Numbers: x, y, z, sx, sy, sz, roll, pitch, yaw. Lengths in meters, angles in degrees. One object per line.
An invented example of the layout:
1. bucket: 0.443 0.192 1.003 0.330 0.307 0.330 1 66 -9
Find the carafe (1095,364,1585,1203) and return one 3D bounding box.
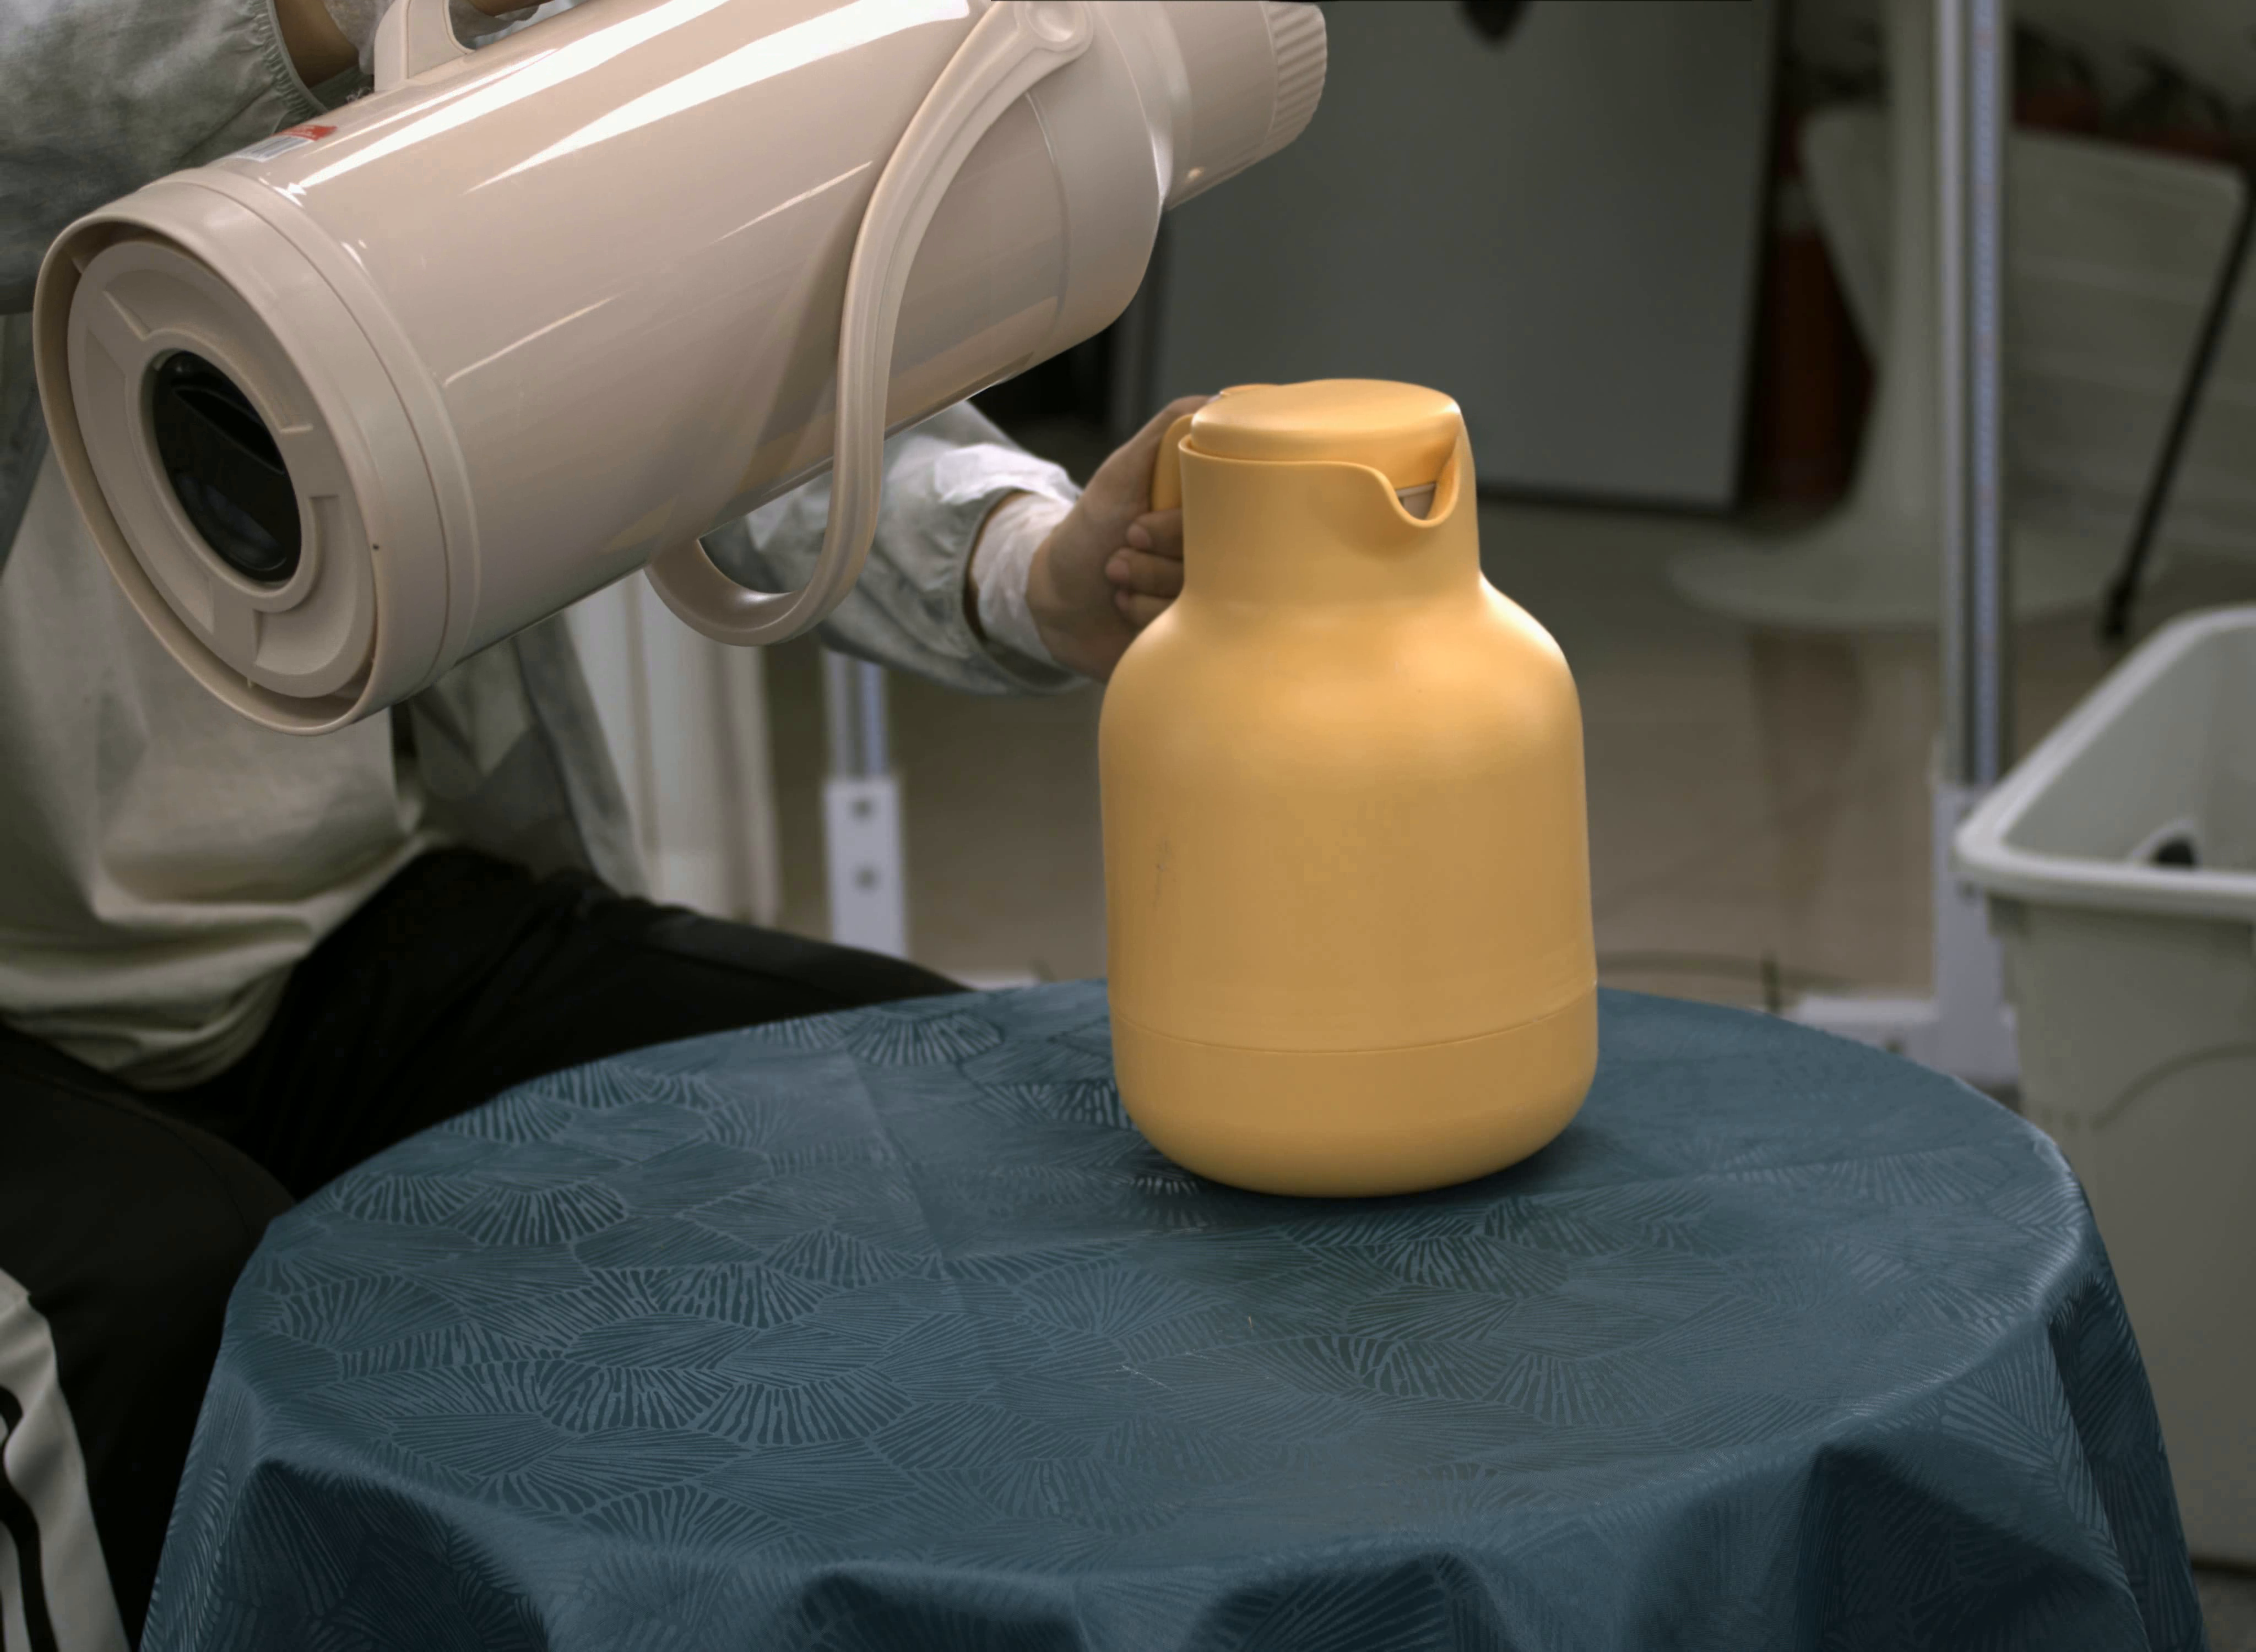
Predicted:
1. carafe: 0.063 -0.022 1.788 0.160 0.263 0.204 -6 14 -20

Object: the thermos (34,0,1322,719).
1. thermos: -0.123 -0.196 1.597 0.400 0.208 0.177 -31 -3 -33
